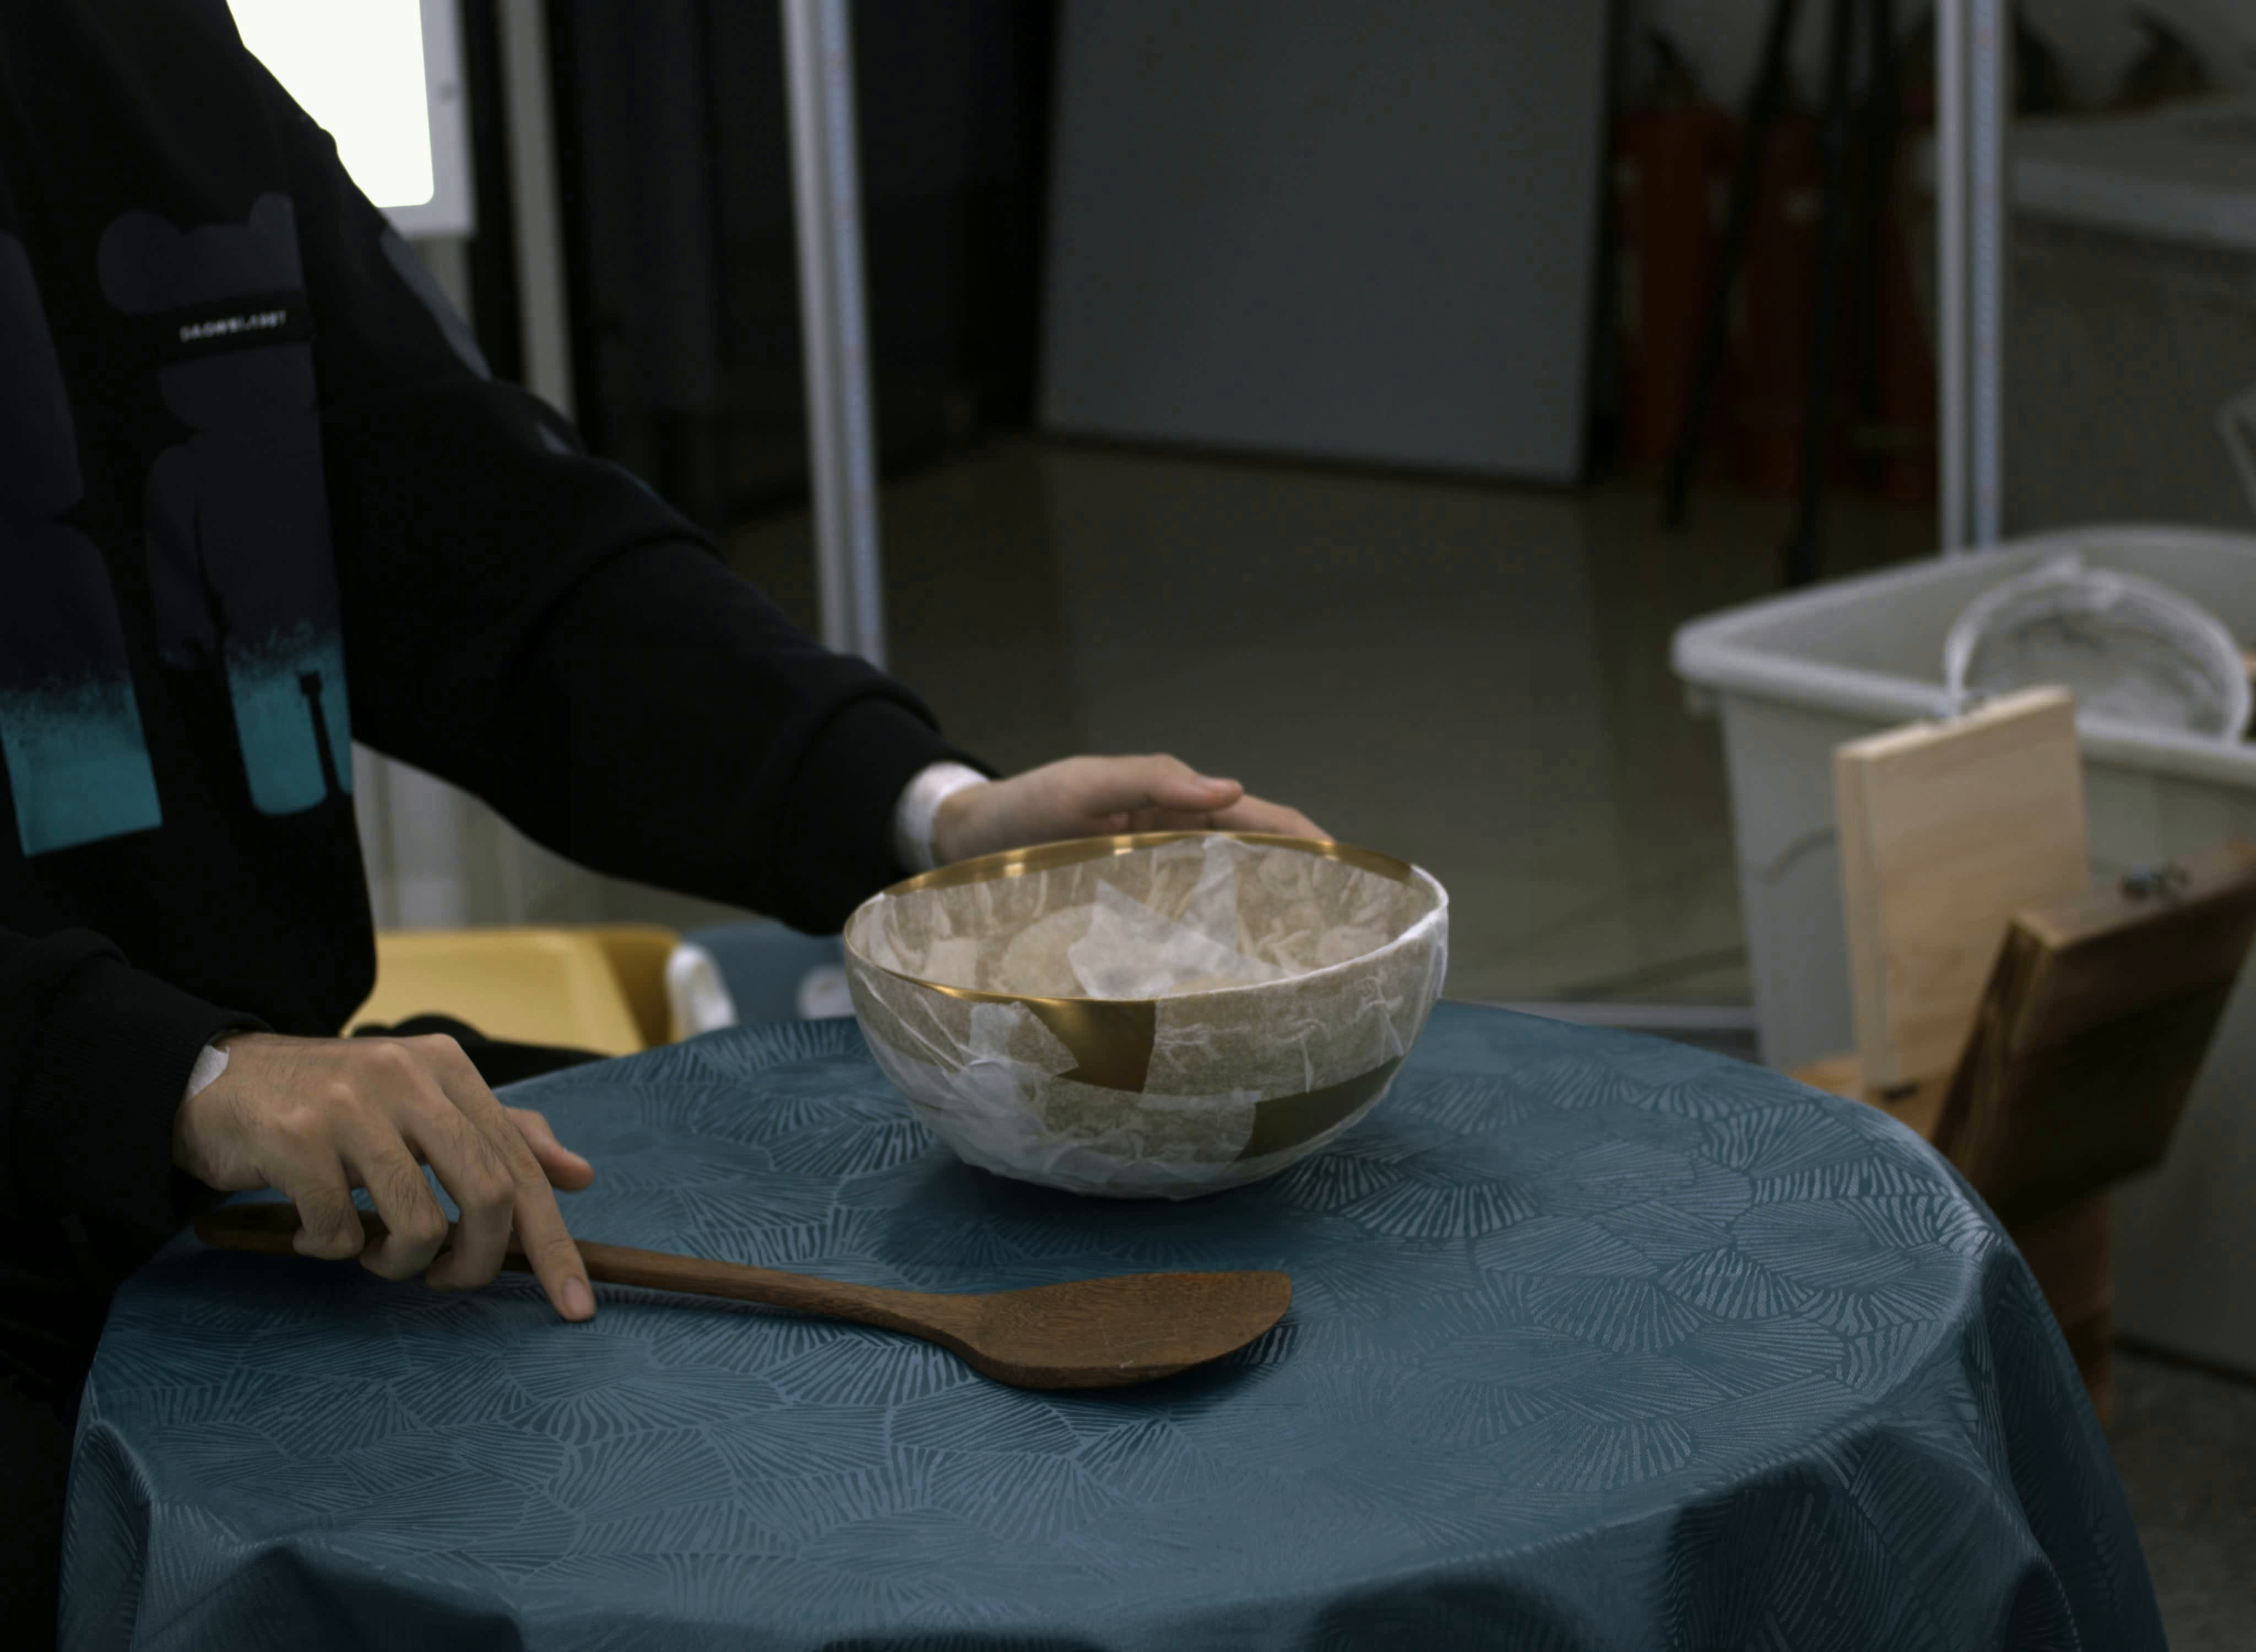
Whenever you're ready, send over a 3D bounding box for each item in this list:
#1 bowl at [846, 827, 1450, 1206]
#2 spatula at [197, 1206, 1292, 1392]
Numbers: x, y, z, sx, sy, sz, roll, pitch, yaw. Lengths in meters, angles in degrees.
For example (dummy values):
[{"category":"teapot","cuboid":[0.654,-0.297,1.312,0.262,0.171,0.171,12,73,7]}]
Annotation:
[{"category":"bowl","cuboid":[0.008,0.070,1.783,0.212,0.095,0.215,-6,14,1]},{"category":"spatula","cuboid":[-0.130,0.143,1.685,0.387,0.016,0.095,4,15,27]}]
